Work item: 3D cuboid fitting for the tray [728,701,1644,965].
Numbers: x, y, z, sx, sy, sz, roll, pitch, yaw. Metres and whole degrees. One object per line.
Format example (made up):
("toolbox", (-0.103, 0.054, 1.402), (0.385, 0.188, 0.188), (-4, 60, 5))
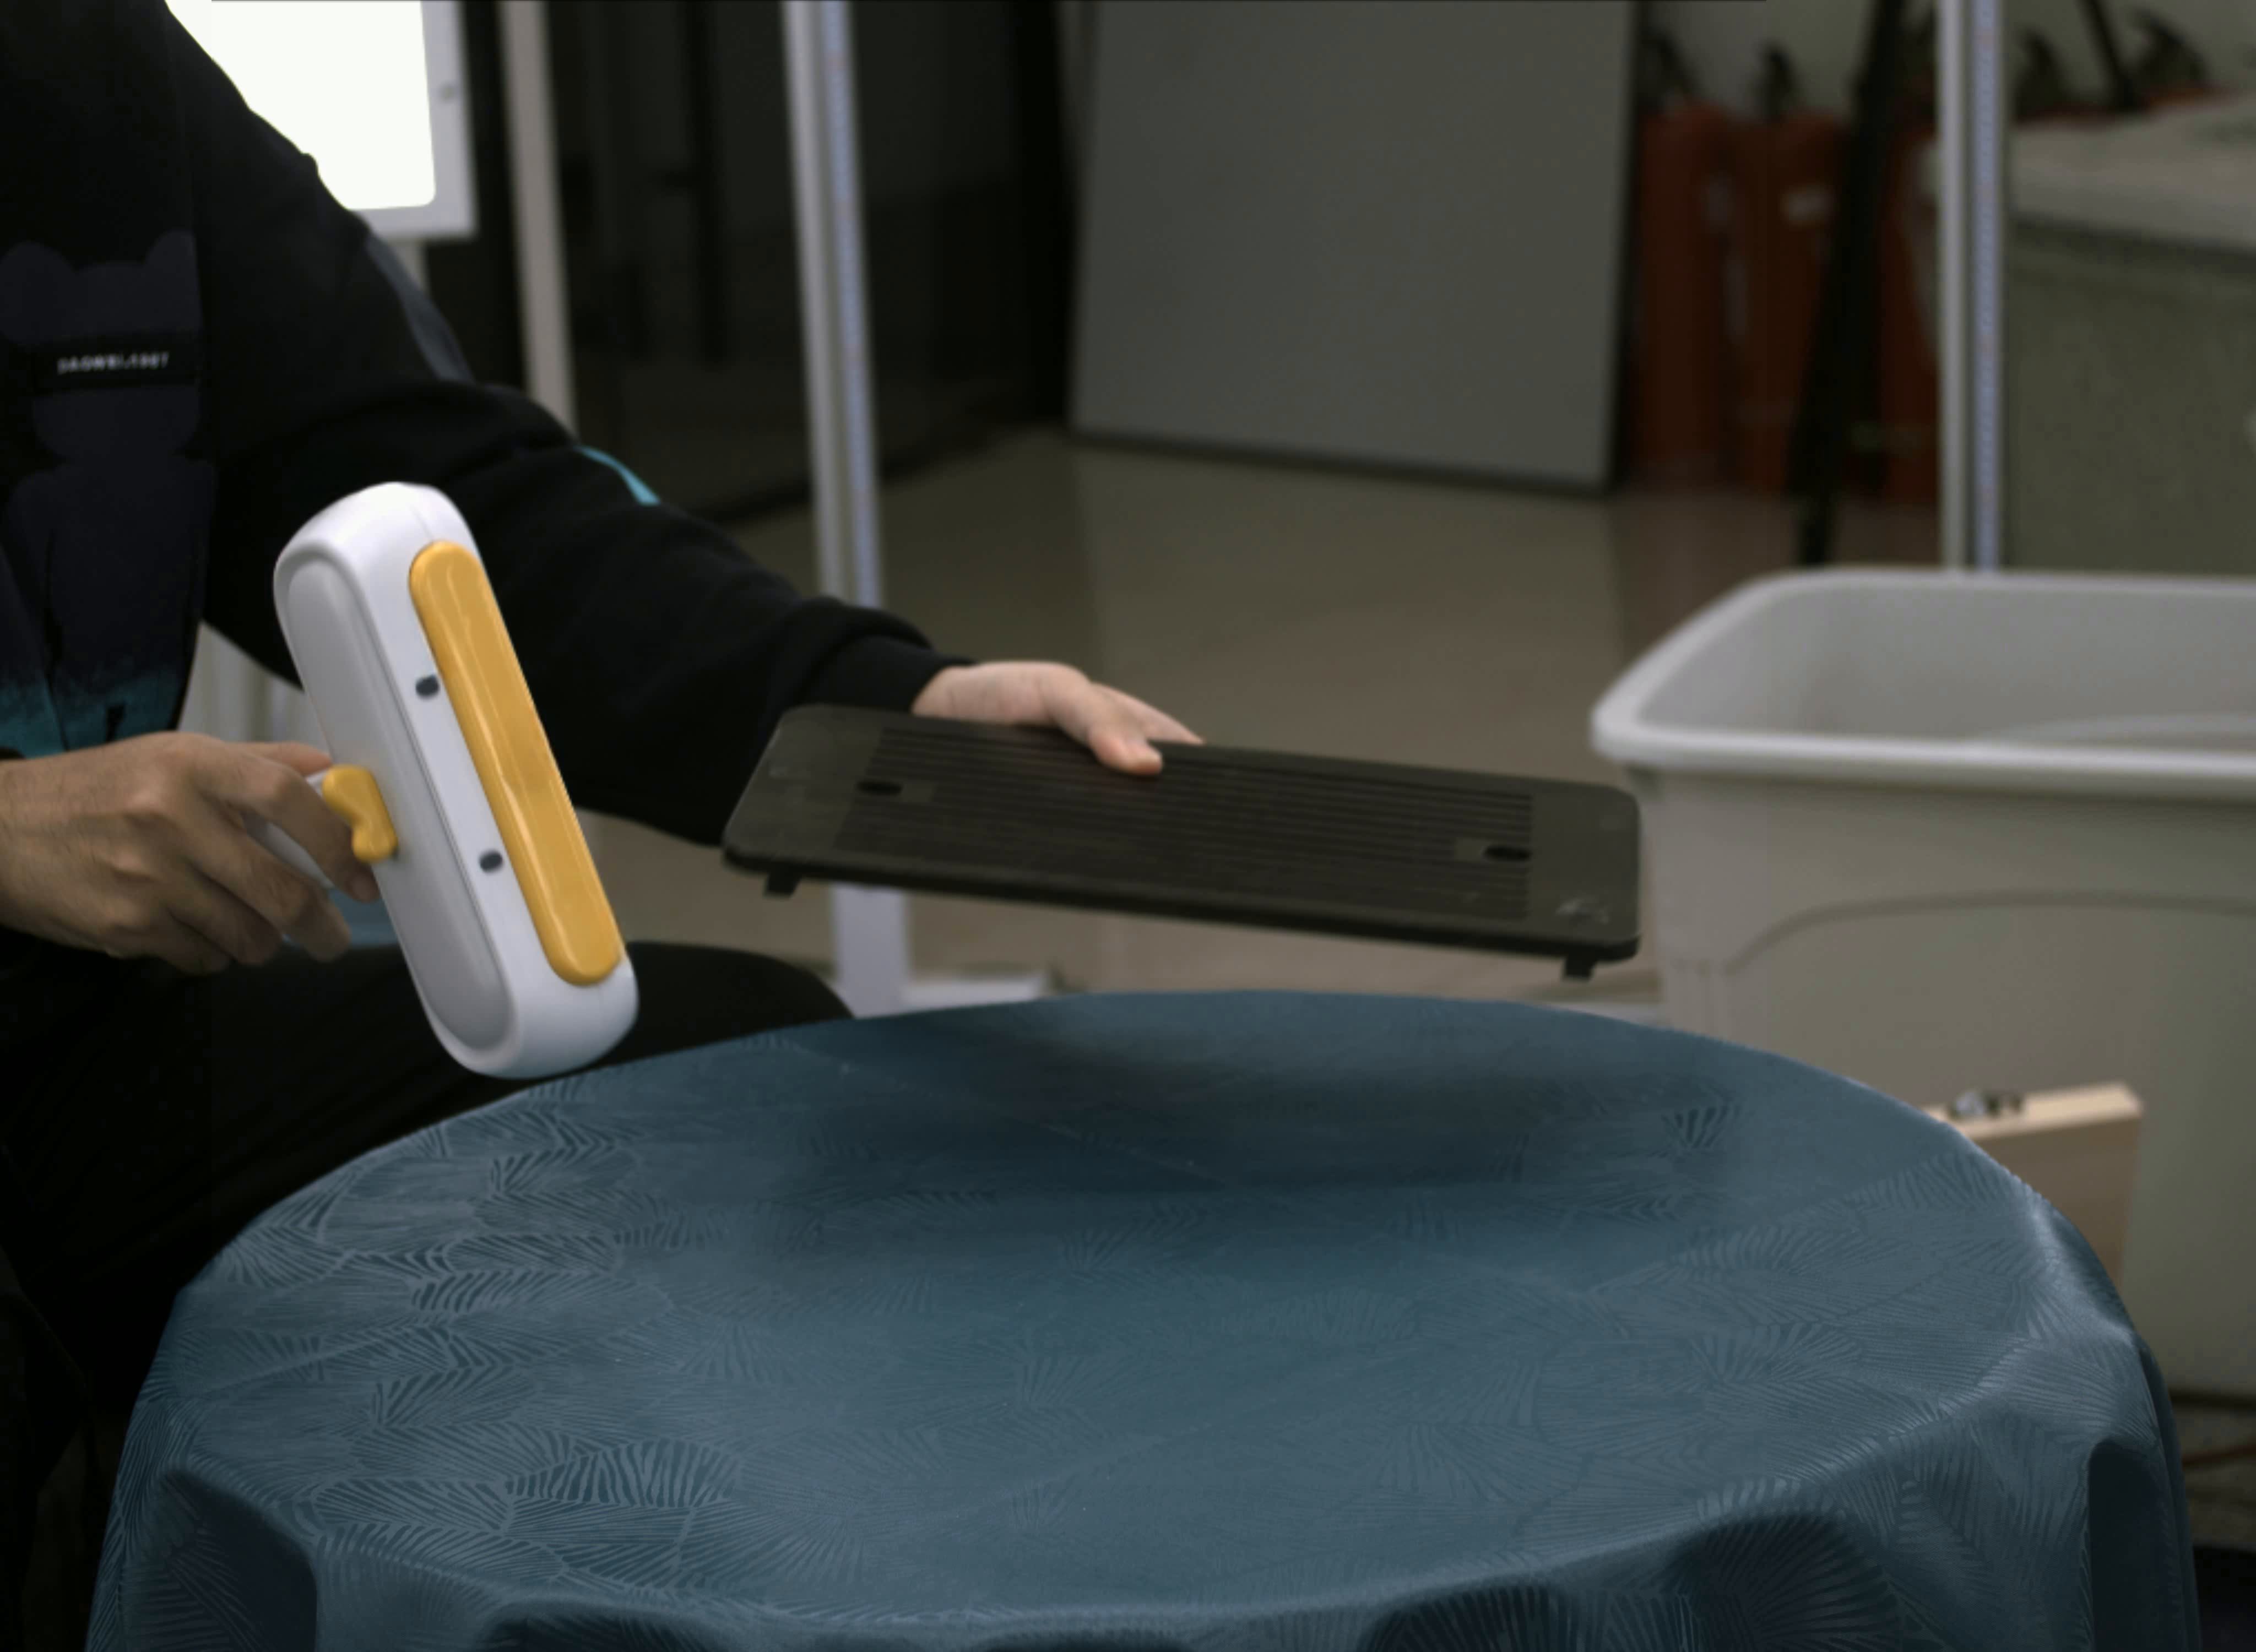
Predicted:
("tray", (0.023, 0.002, 1.830), (0.302, 0.019, 0.170), (5, 17, 4))

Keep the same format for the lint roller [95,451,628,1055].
("lint roller", (-0.256, -0.002, 1.728), (0.194, 0.194, 0.073), (-25, 1, 44))
